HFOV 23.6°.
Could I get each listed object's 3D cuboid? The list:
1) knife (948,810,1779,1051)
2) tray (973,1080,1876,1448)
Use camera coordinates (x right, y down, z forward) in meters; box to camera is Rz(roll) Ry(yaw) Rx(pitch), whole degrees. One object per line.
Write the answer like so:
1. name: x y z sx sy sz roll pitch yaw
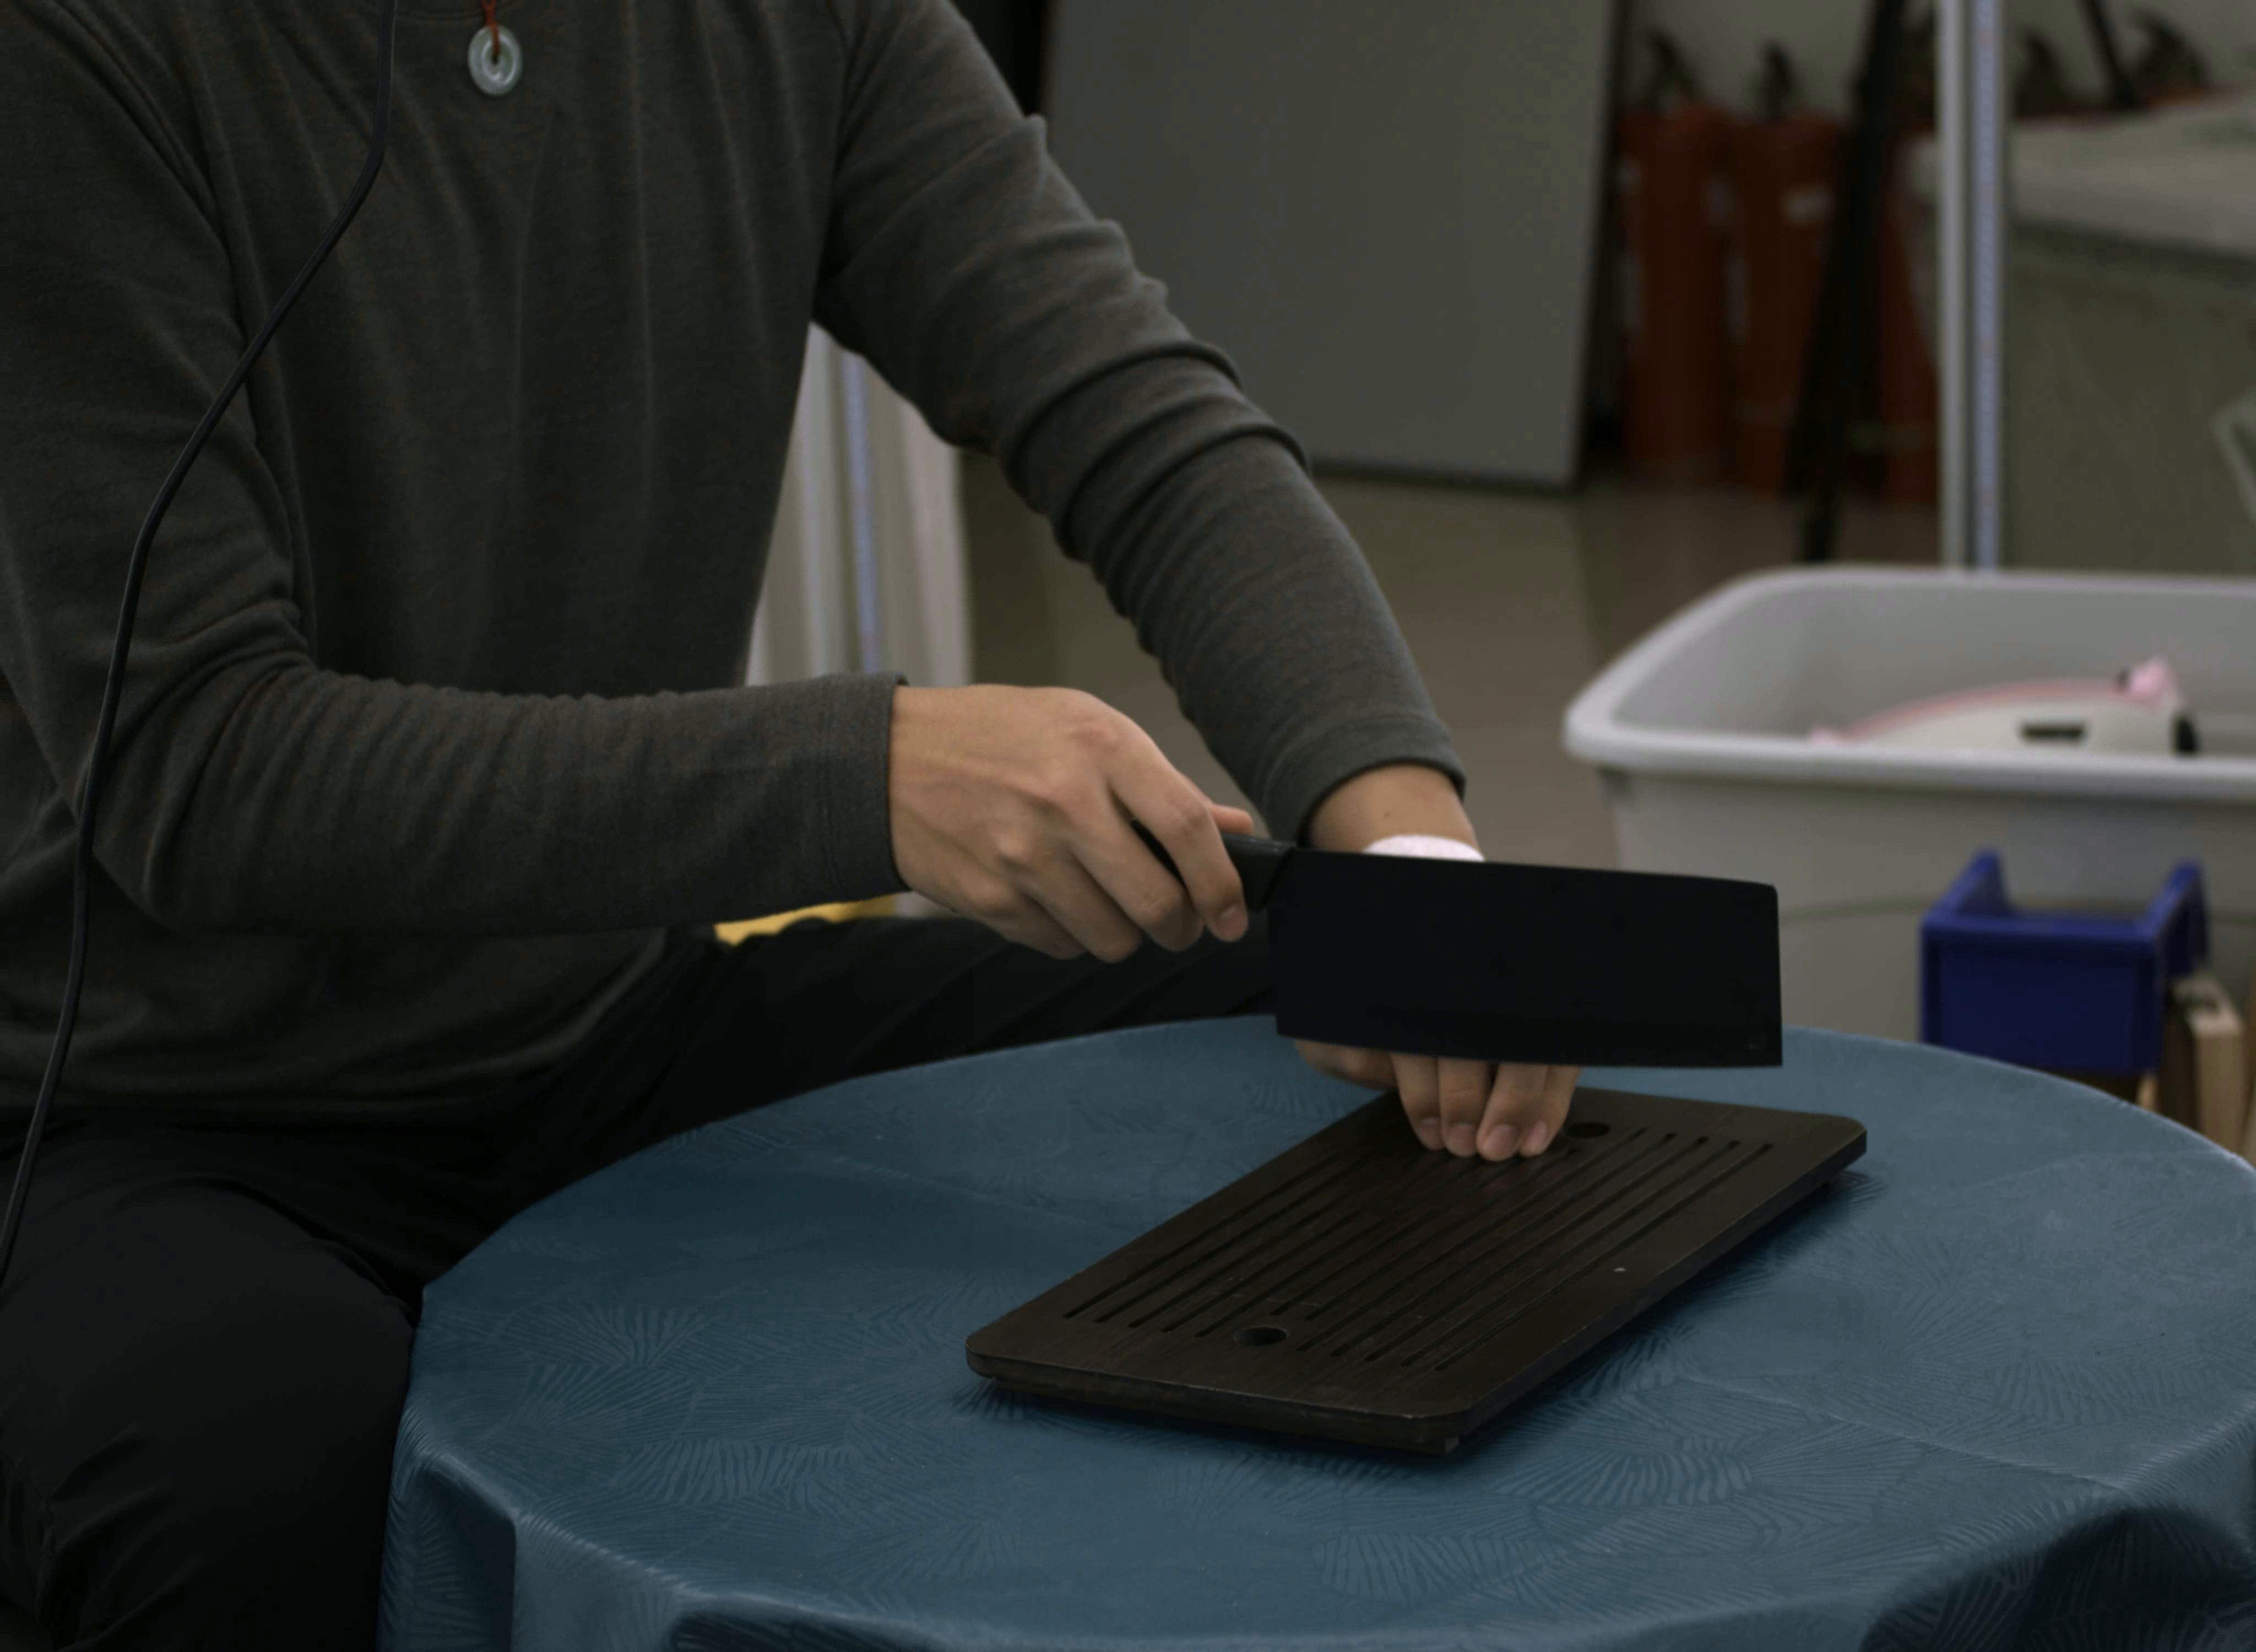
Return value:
1. knife: 0.071 0.032 1.726 0.303 0.082 0.020 8 16 31
2. tray: 0.098 0.132 1.662 0.171 0.019 0.301 3 15 32
